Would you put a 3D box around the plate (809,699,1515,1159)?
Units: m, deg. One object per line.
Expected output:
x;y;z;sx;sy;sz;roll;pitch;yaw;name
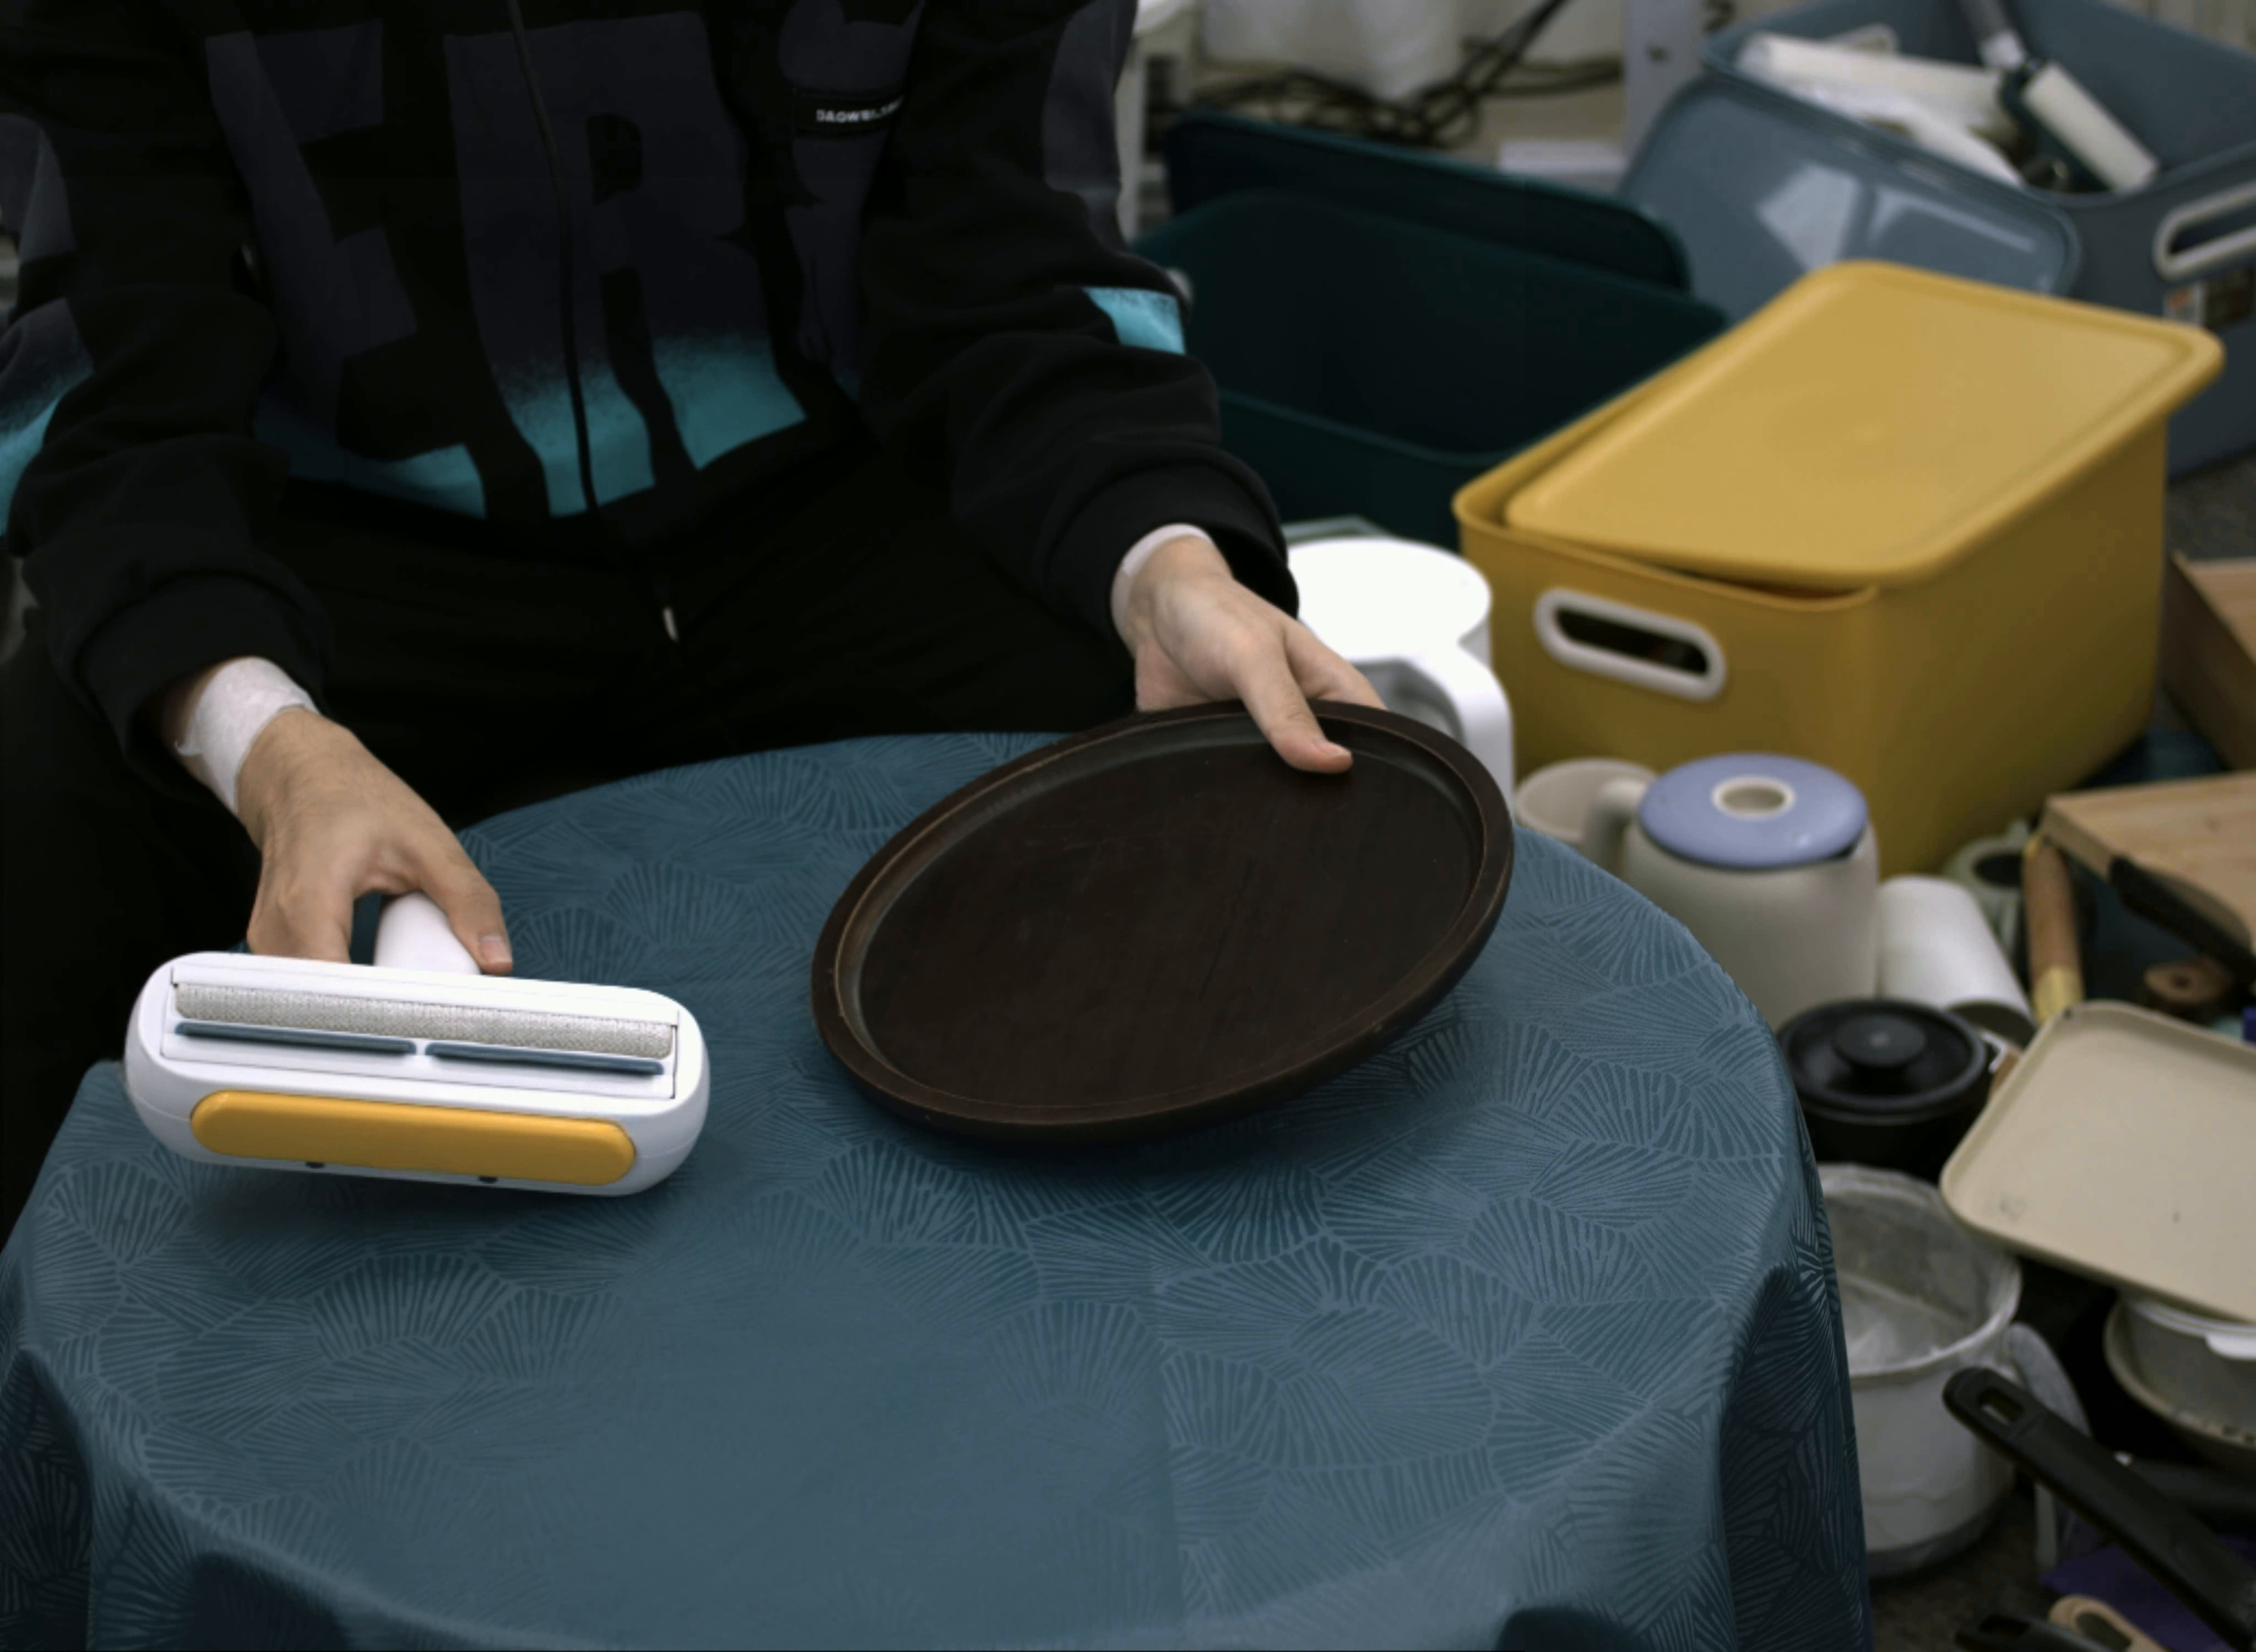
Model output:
0.012;0.035;1.954;0.253;0.029;0.259;-12;30;7;plate

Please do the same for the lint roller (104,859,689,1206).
-0.242;0.057;1.918;0.192;0.073;0.196;4;34;-2;lint roller
